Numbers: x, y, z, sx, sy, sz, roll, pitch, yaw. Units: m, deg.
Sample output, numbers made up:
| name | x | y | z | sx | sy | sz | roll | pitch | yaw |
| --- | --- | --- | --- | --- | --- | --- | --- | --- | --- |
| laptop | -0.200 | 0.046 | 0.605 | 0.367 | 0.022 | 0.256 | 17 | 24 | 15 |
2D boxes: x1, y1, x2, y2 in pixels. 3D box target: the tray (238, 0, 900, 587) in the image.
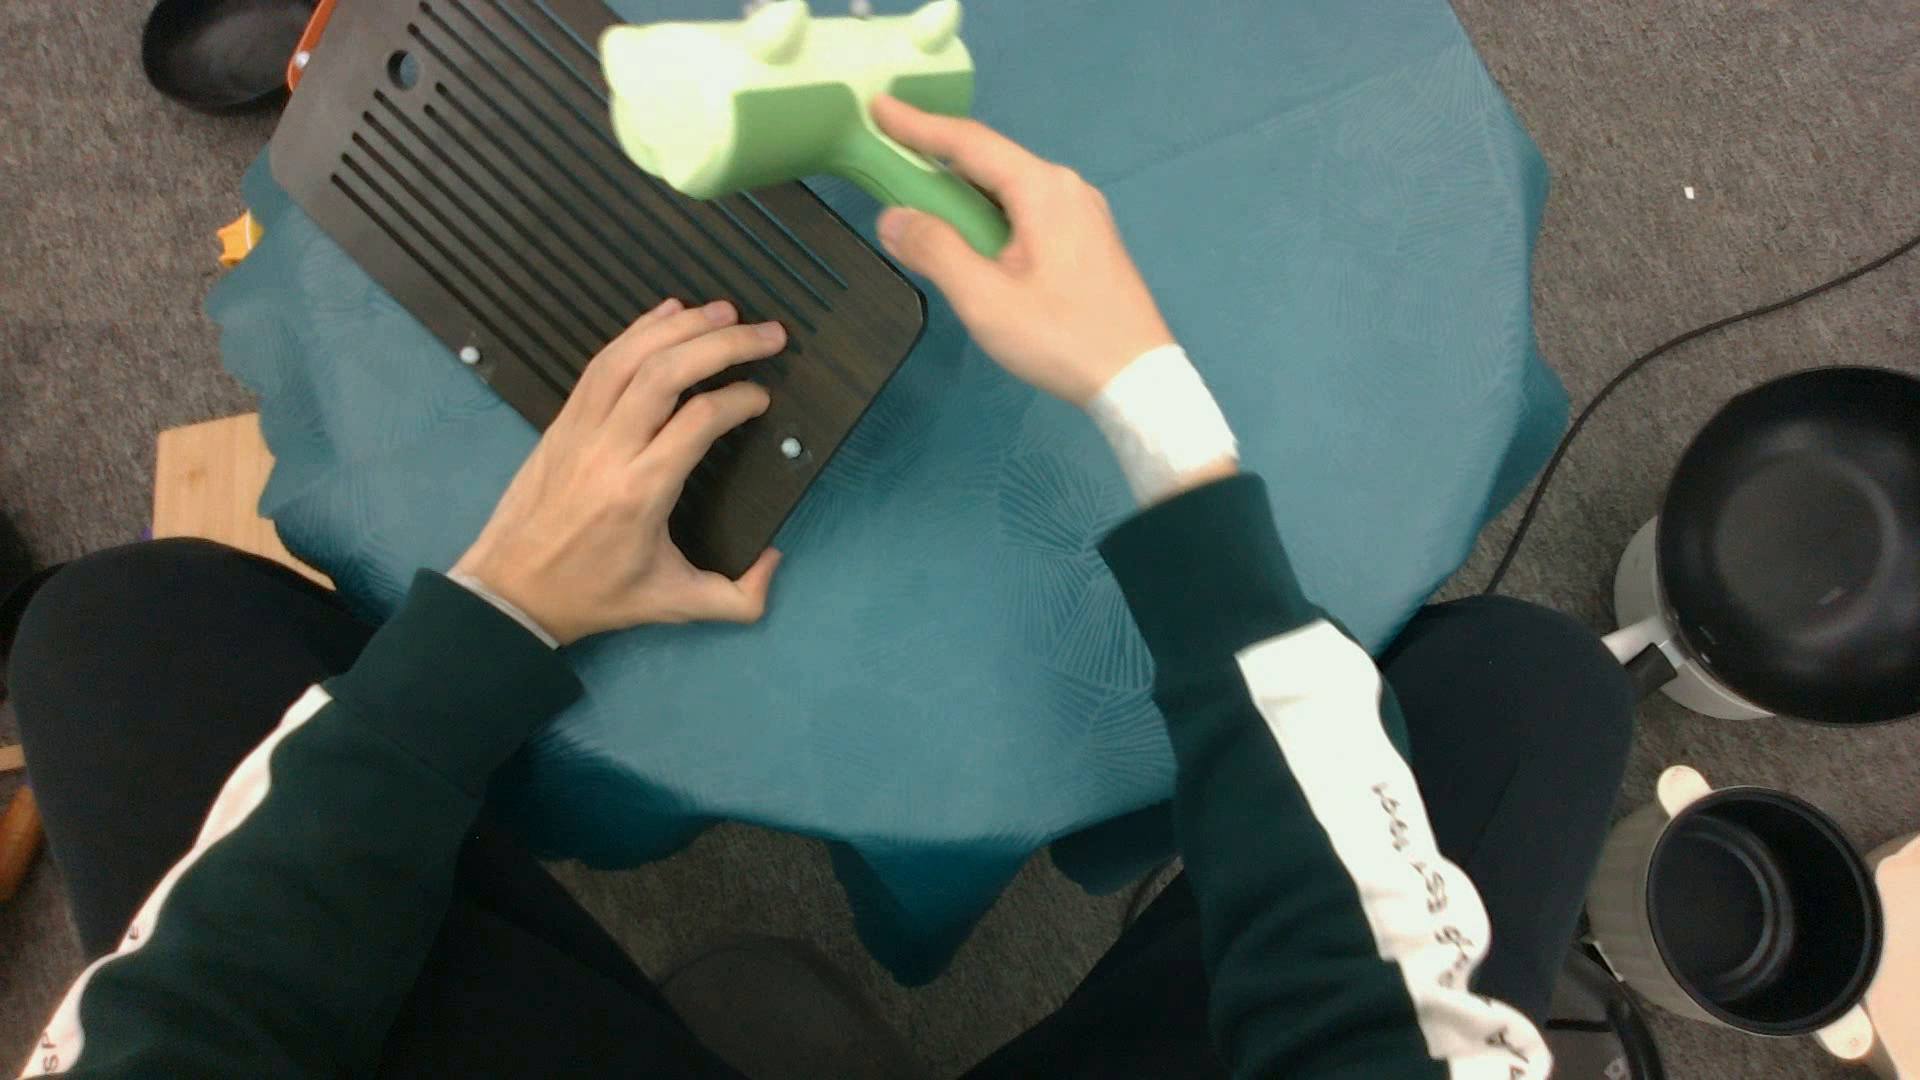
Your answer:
| name | x | y | z | sx | sy | sz | roll | pitch | yaw |
| --- | --- | --- | --- | --- | --- | --- | --- | --- | --- |
| tray | -0.181 | -0.133 | 0.610 | 0.306 | 0.019 | 0.169 | 40 | 113 | 6 |

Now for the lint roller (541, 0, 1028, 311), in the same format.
| name | x | y | z | sx | sy | sz | roll | pitch | yaw |
| --- | --- | --- | --- | --- | --- | --- | --- | --- | --- |
| lint roller | -0.037 | -0.169 | 0.553 | 0.183 | 0.199 | 0.082 | 34 | 121 | 12 |
